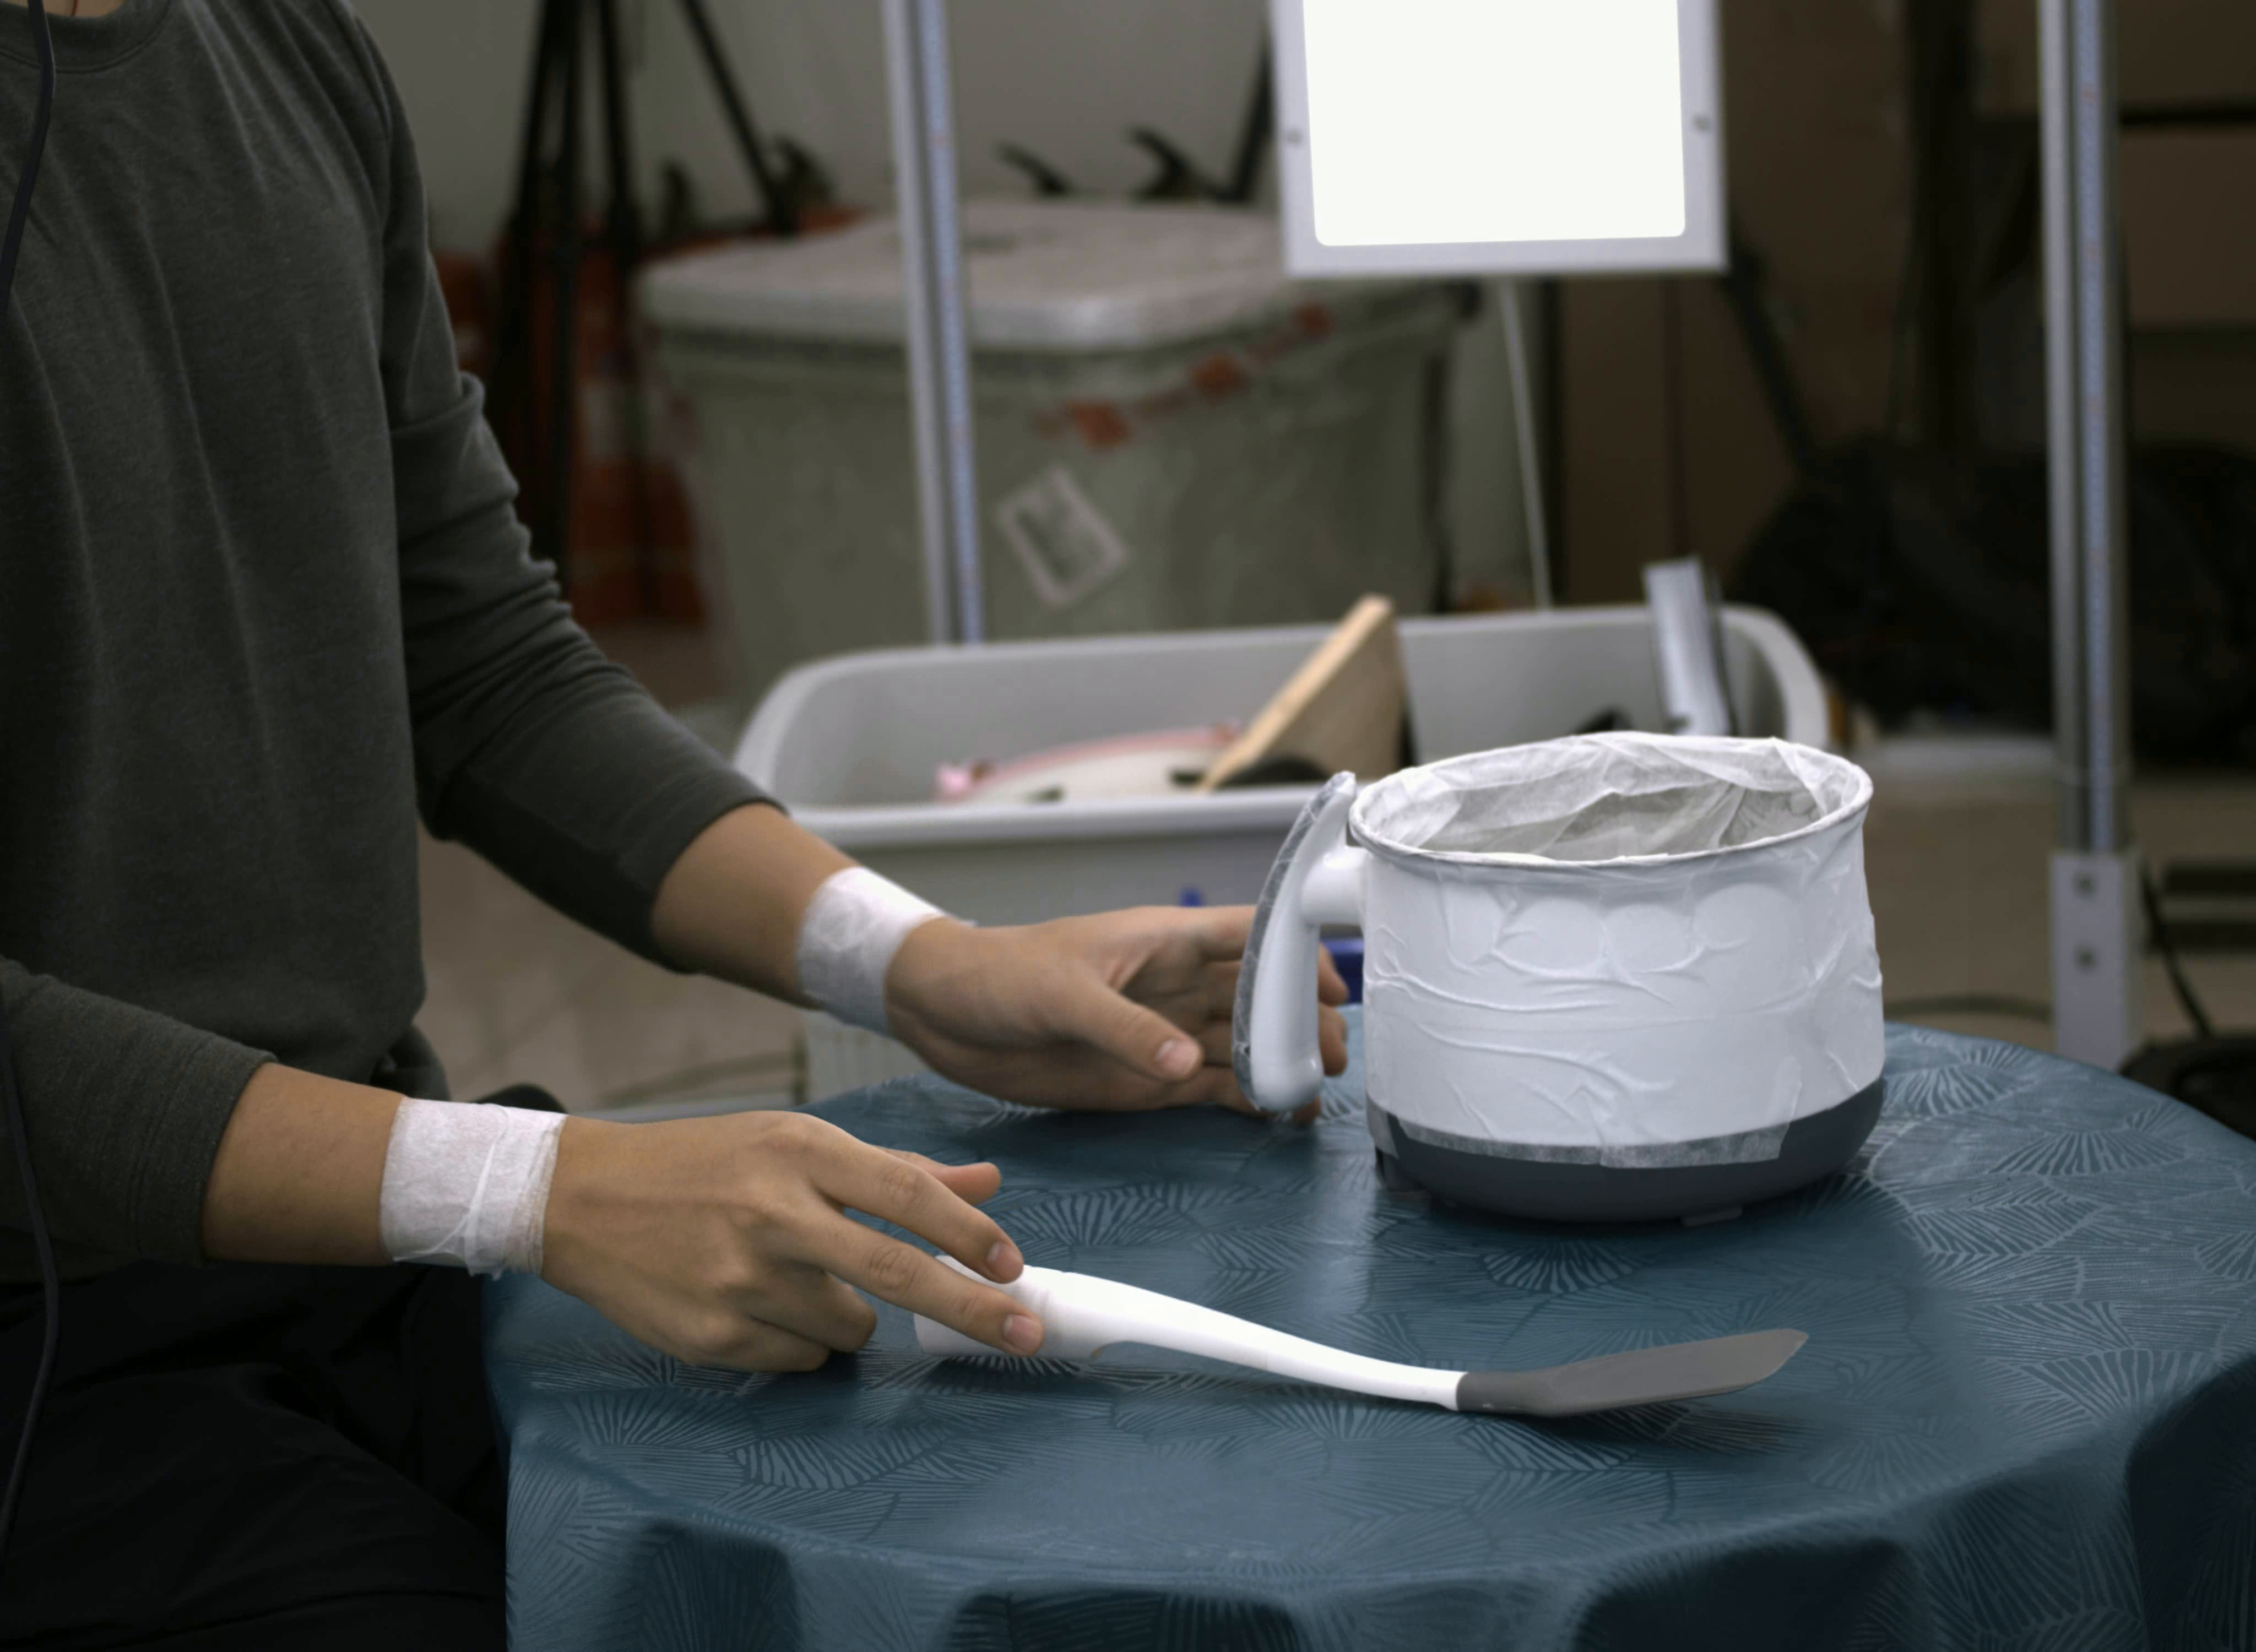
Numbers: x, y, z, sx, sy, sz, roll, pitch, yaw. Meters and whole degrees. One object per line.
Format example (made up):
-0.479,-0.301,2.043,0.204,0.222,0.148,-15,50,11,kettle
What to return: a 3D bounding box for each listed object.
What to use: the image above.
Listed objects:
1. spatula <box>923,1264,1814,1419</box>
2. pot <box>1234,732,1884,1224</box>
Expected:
0.070,0.159,1.674,0.293,0.032,0.057,2,12,29,spatula
0.143,0.049,1.875,0.238,0.137,0.175,2,15,27,pot
